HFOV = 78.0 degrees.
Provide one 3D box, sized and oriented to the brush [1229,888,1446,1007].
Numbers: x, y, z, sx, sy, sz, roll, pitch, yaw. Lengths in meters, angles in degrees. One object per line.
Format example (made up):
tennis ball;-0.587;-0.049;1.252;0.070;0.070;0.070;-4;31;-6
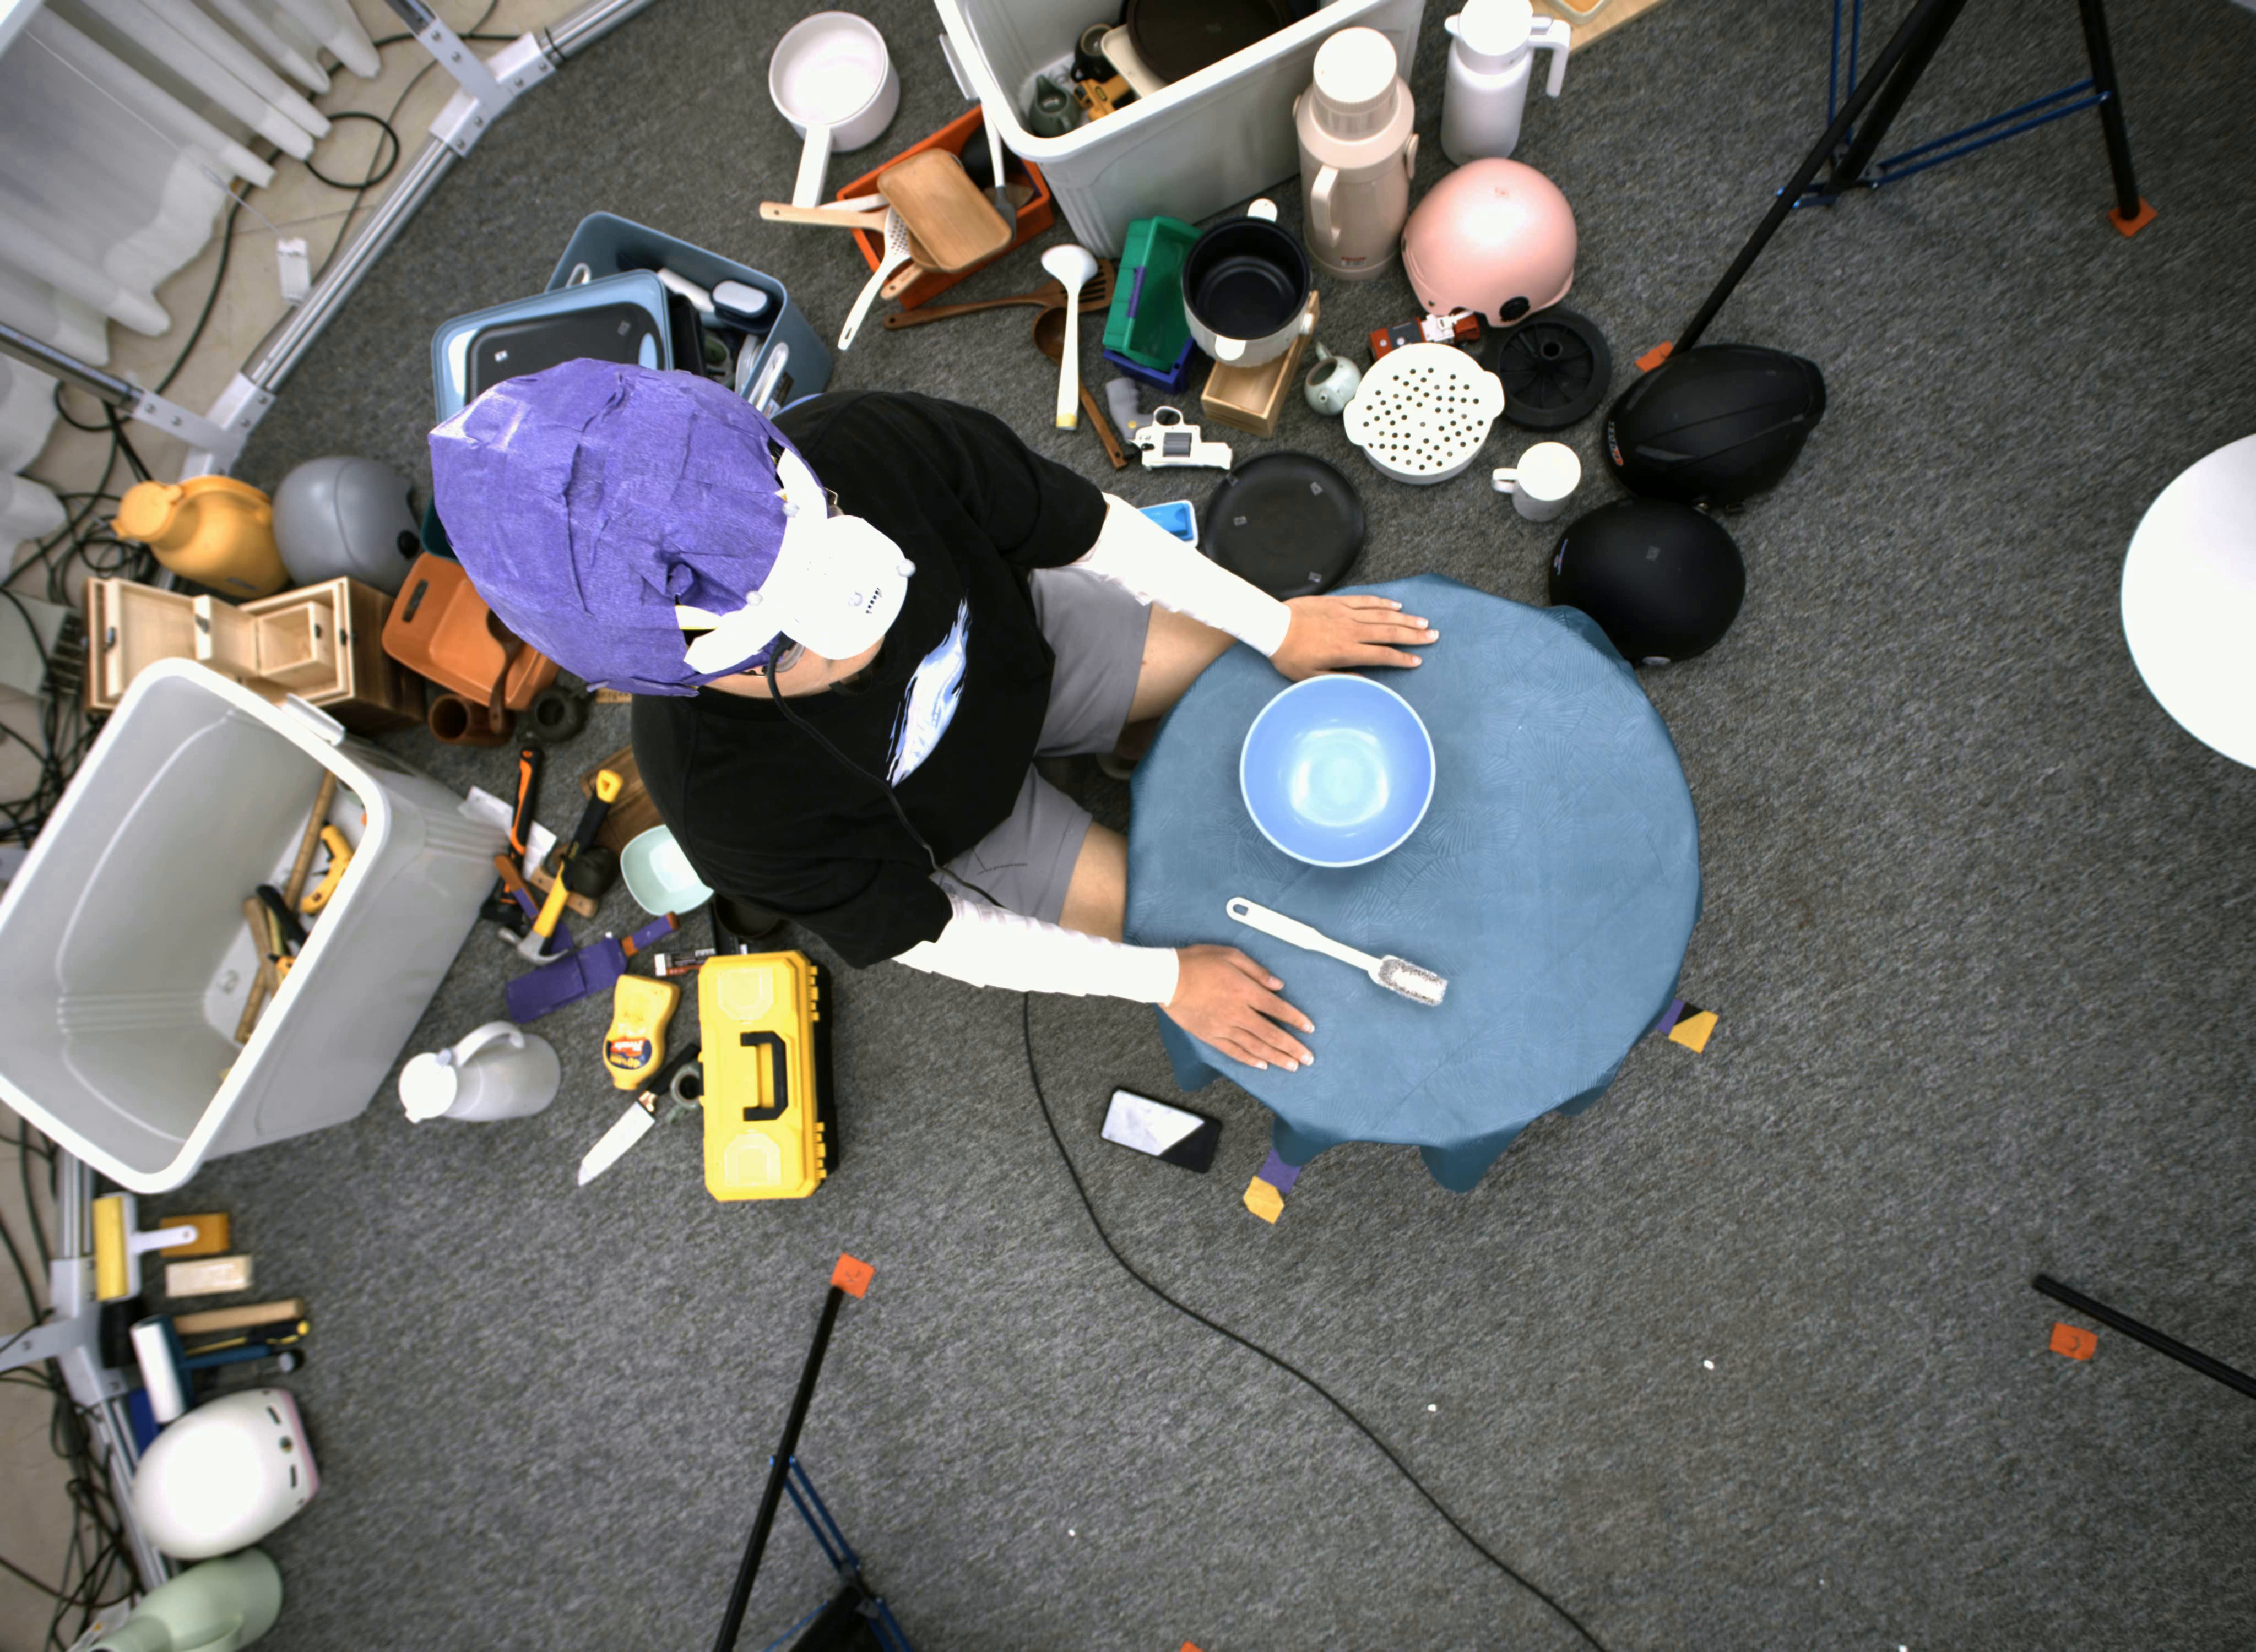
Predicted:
brush;0.214;0.123;1.441;0.243;0.050;0.034;26;93;11

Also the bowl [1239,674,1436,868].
bowl;0.217;-0.053;1.427;0.197;0.095;0.196;-1;87;11
